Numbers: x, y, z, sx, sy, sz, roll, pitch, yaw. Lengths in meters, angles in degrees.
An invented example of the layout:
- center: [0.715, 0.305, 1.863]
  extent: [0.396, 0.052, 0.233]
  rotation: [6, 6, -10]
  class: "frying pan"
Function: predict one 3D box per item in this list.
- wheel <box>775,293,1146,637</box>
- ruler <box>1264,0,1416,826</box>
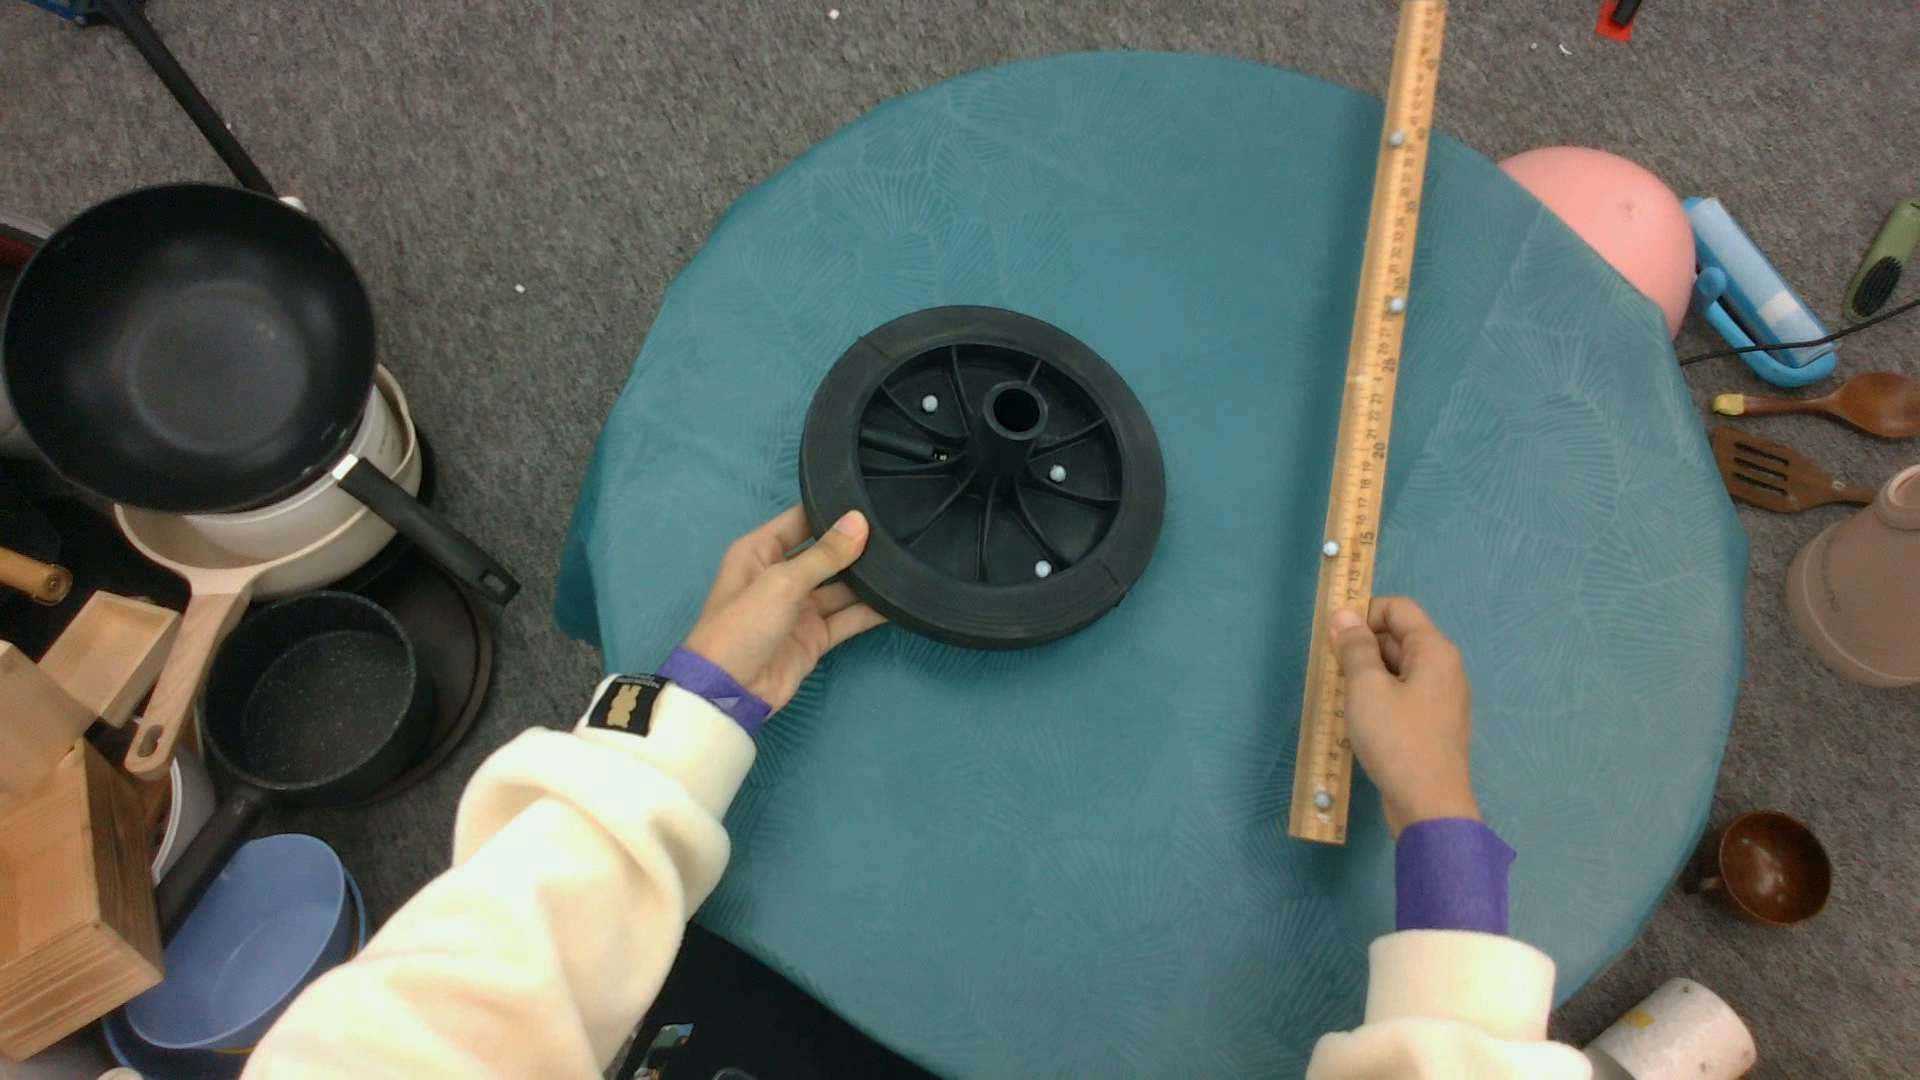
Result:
- center: [0.007, -0.050, 0.675]
  extent: [0.190, 0.079, 0.188]
  rotation: [-5, 67, -16]
  class: "wheel"
- center: [0.204, -0.097, 0.718]
  extent: [0.027, 0.006, 0.502]
  rotation: [7, 66, 15]
  class: "ruler"
